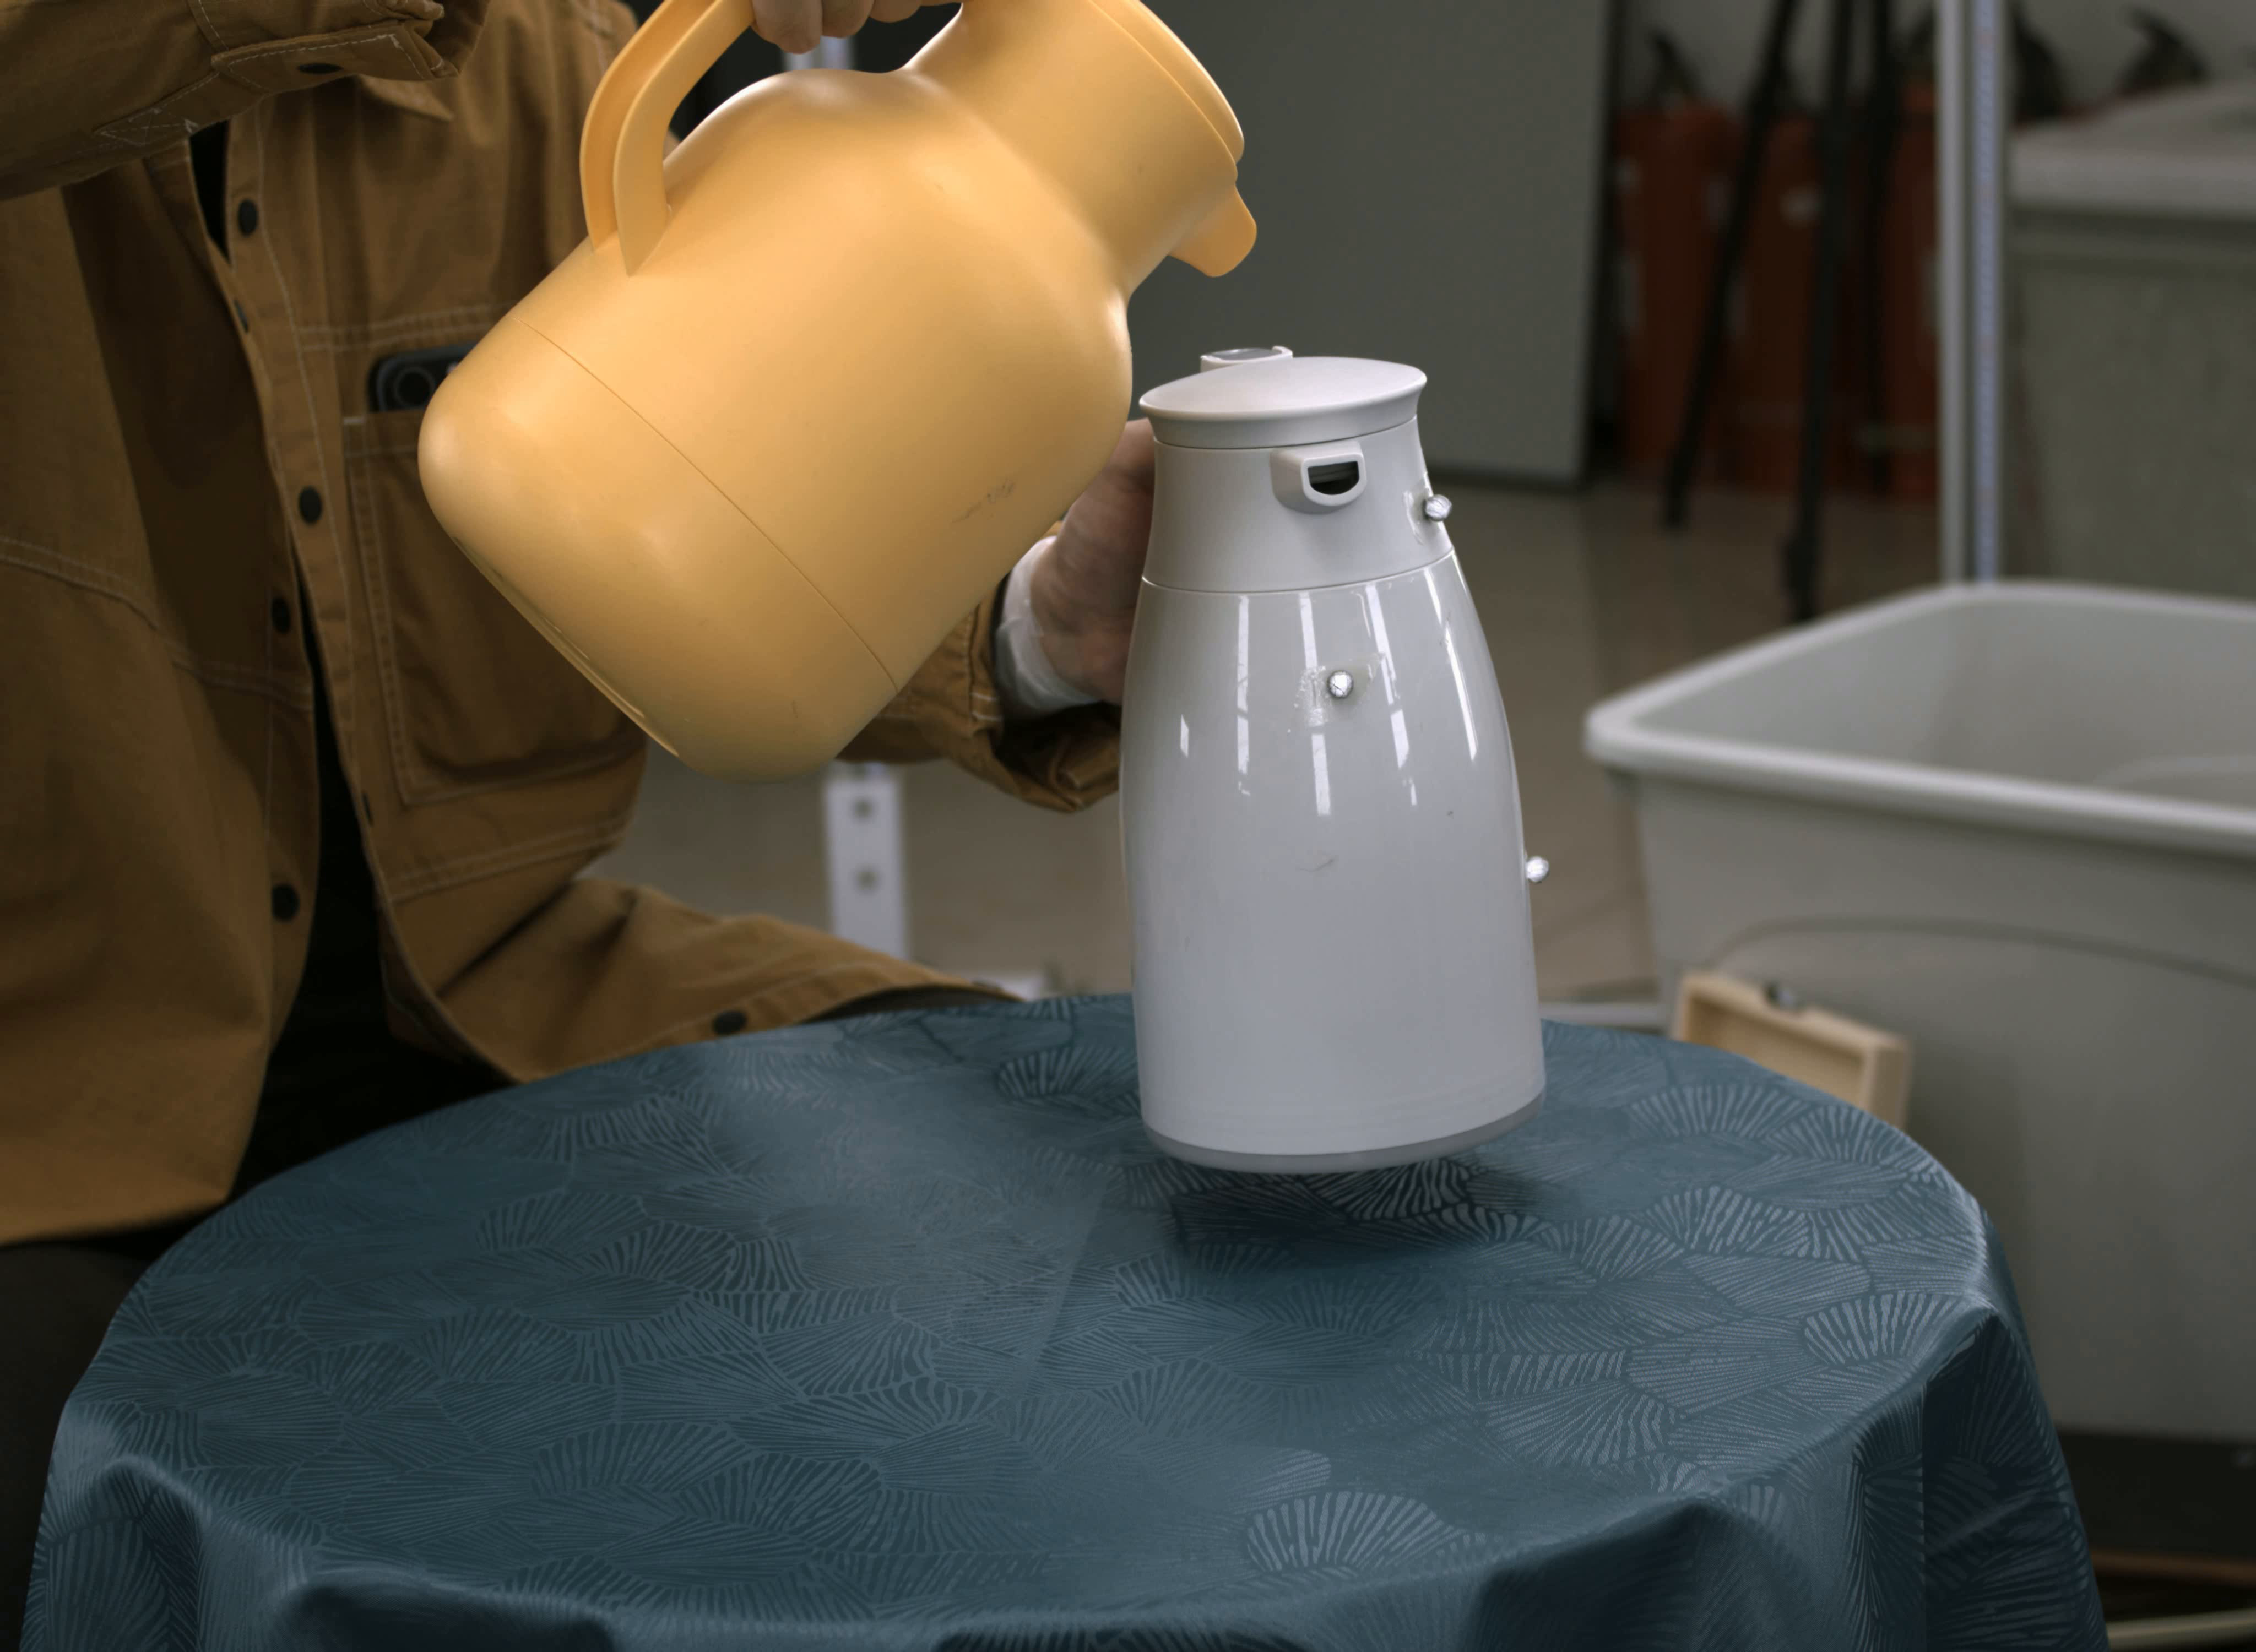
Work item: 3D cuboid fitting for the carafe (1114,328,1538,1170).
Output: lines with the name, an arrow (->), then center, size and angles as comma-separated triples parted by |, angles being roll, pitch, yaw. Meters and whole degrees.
carafe -> 0.052, -0.032, 1.735 | 0.130, 0.251, 0.169 | -8, 12, -10

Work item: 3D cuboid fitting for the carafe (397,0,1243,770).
carafe -> -0.096, -0.165, 1.613 | 0.260, 0.200, 0.165 | -45, 32, -7
